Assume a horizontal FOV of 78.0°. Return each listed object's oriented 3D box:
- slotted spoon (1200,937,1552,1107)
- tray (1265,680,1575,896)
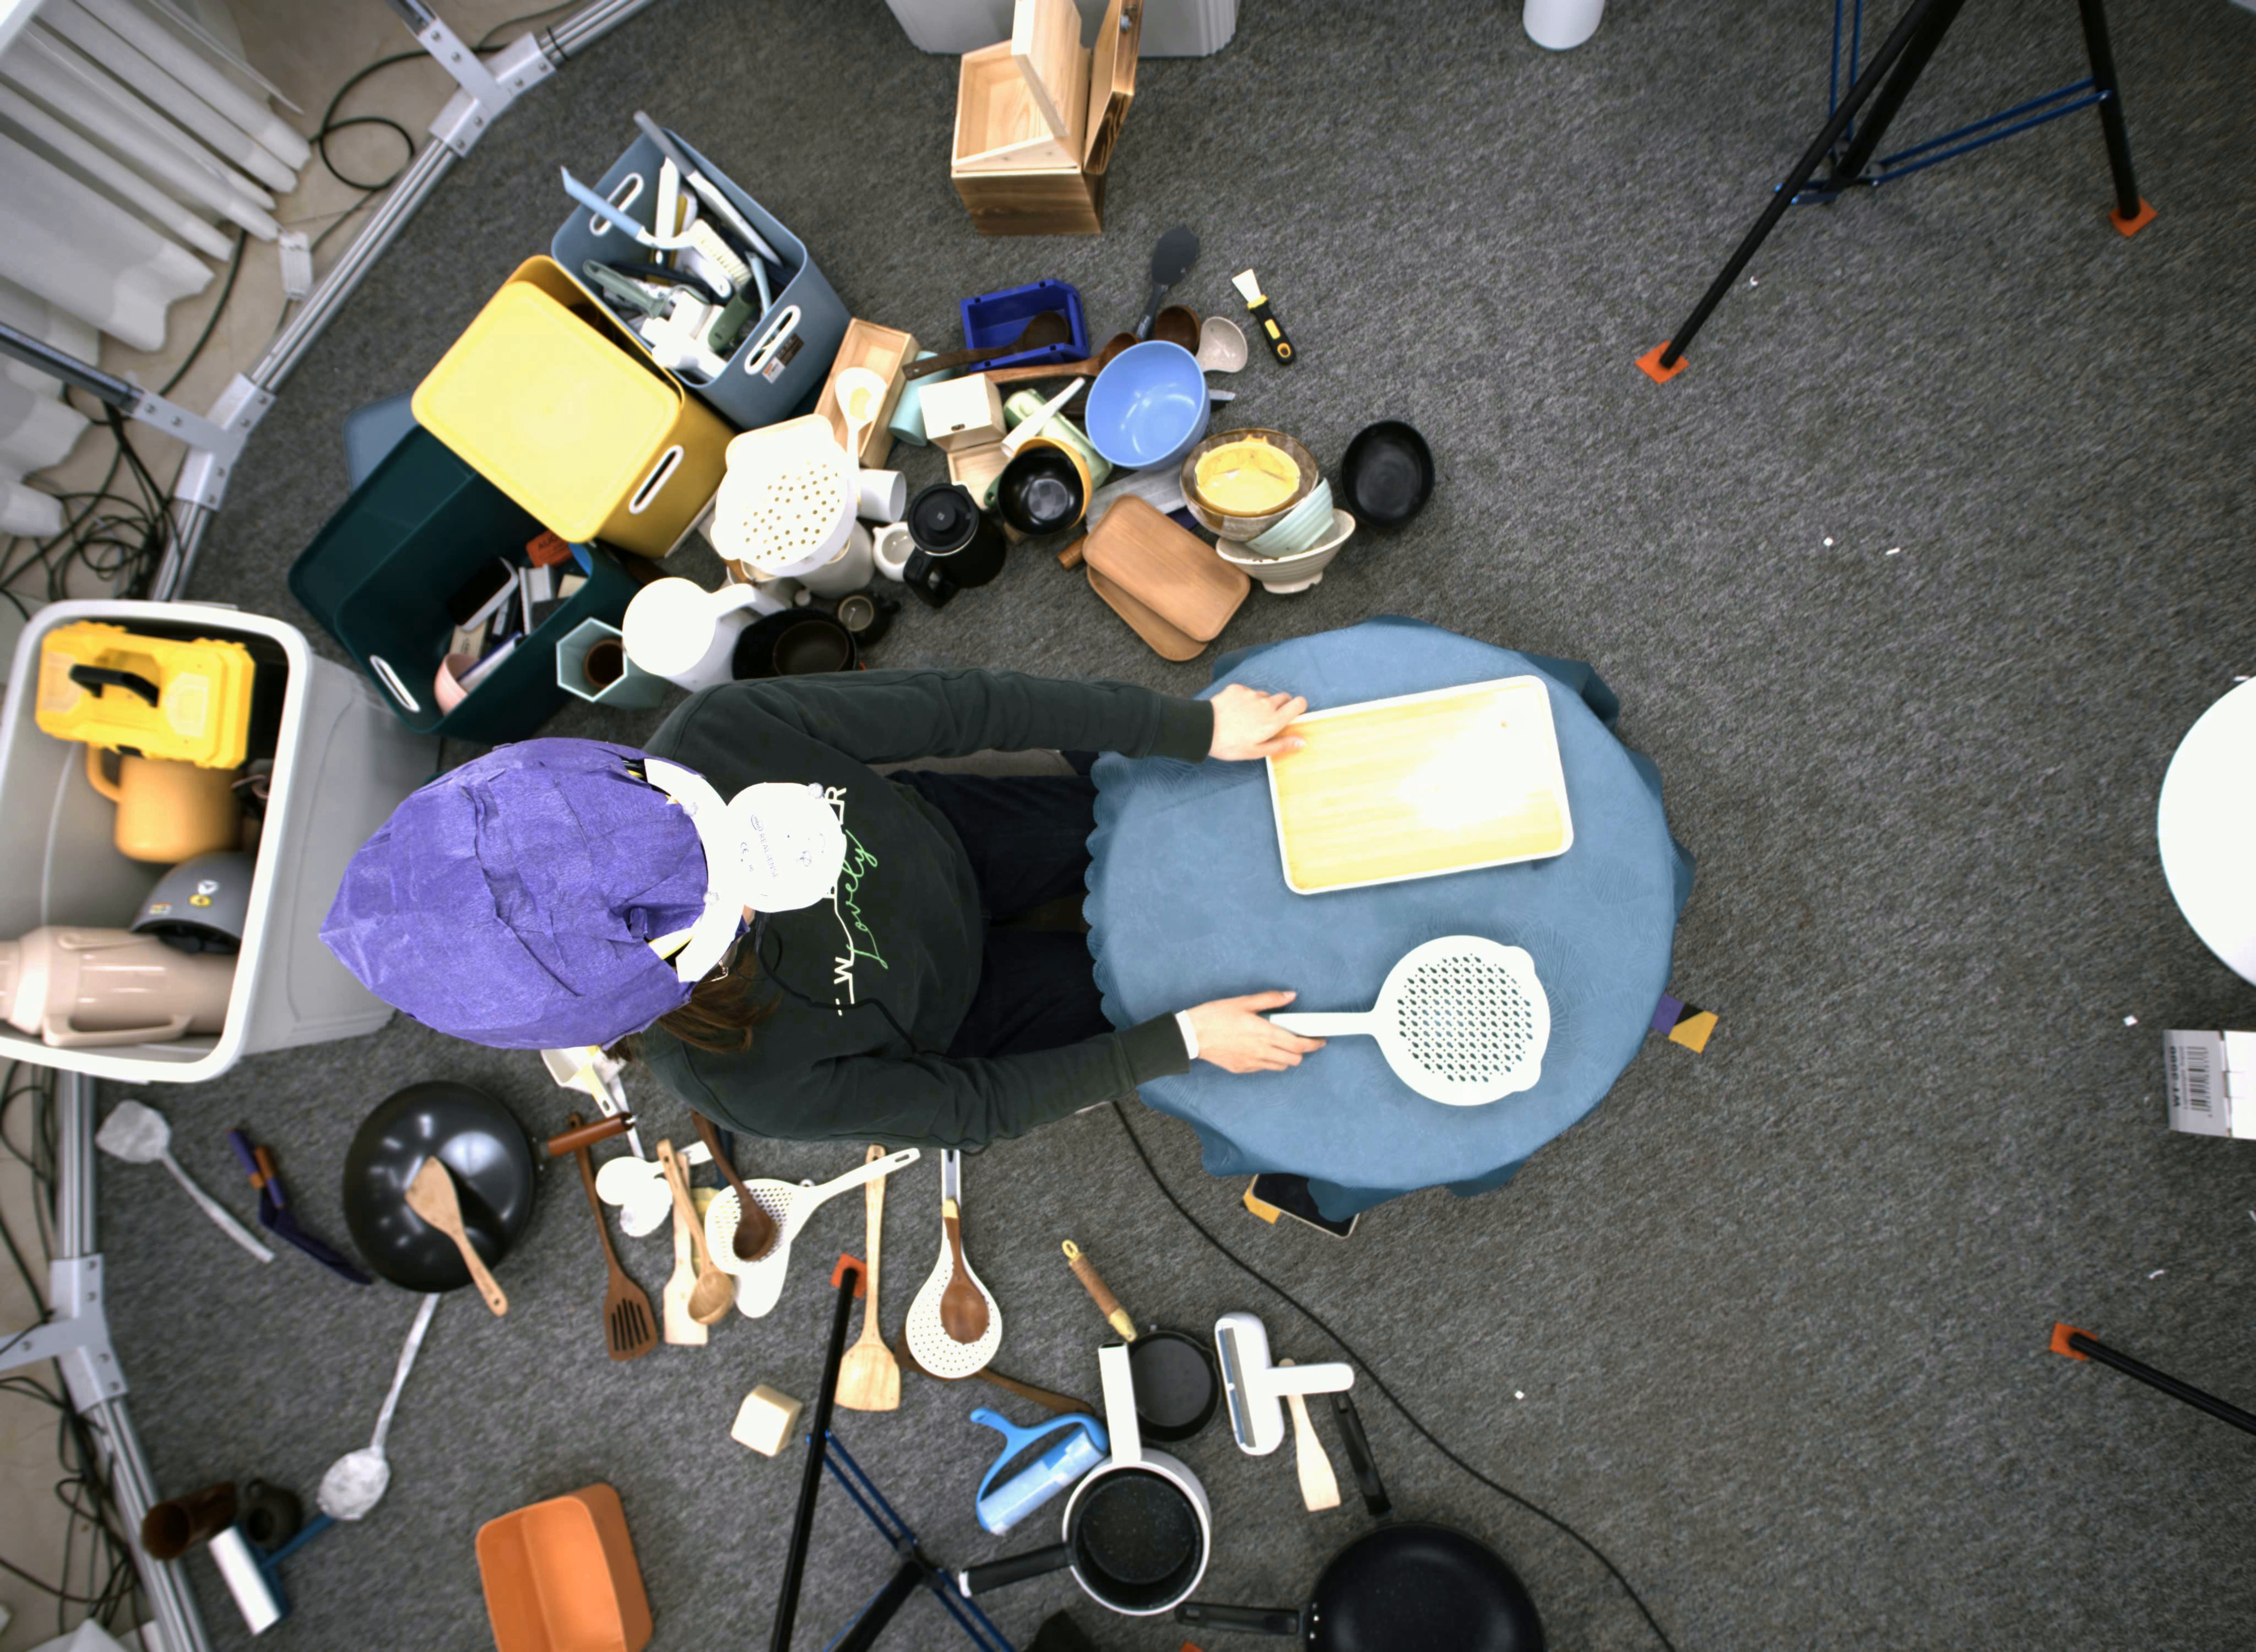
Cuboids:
[{"bbox_3d":[0.248,0.203,1.427,0.360,0.075,0.168,-3,85,10],"label":"slotted spoon"},{"bbox_3d":[0.305,-0.041,1.453,0.302,0.027,0.190,-9,84,9],"label":"tray"}]
